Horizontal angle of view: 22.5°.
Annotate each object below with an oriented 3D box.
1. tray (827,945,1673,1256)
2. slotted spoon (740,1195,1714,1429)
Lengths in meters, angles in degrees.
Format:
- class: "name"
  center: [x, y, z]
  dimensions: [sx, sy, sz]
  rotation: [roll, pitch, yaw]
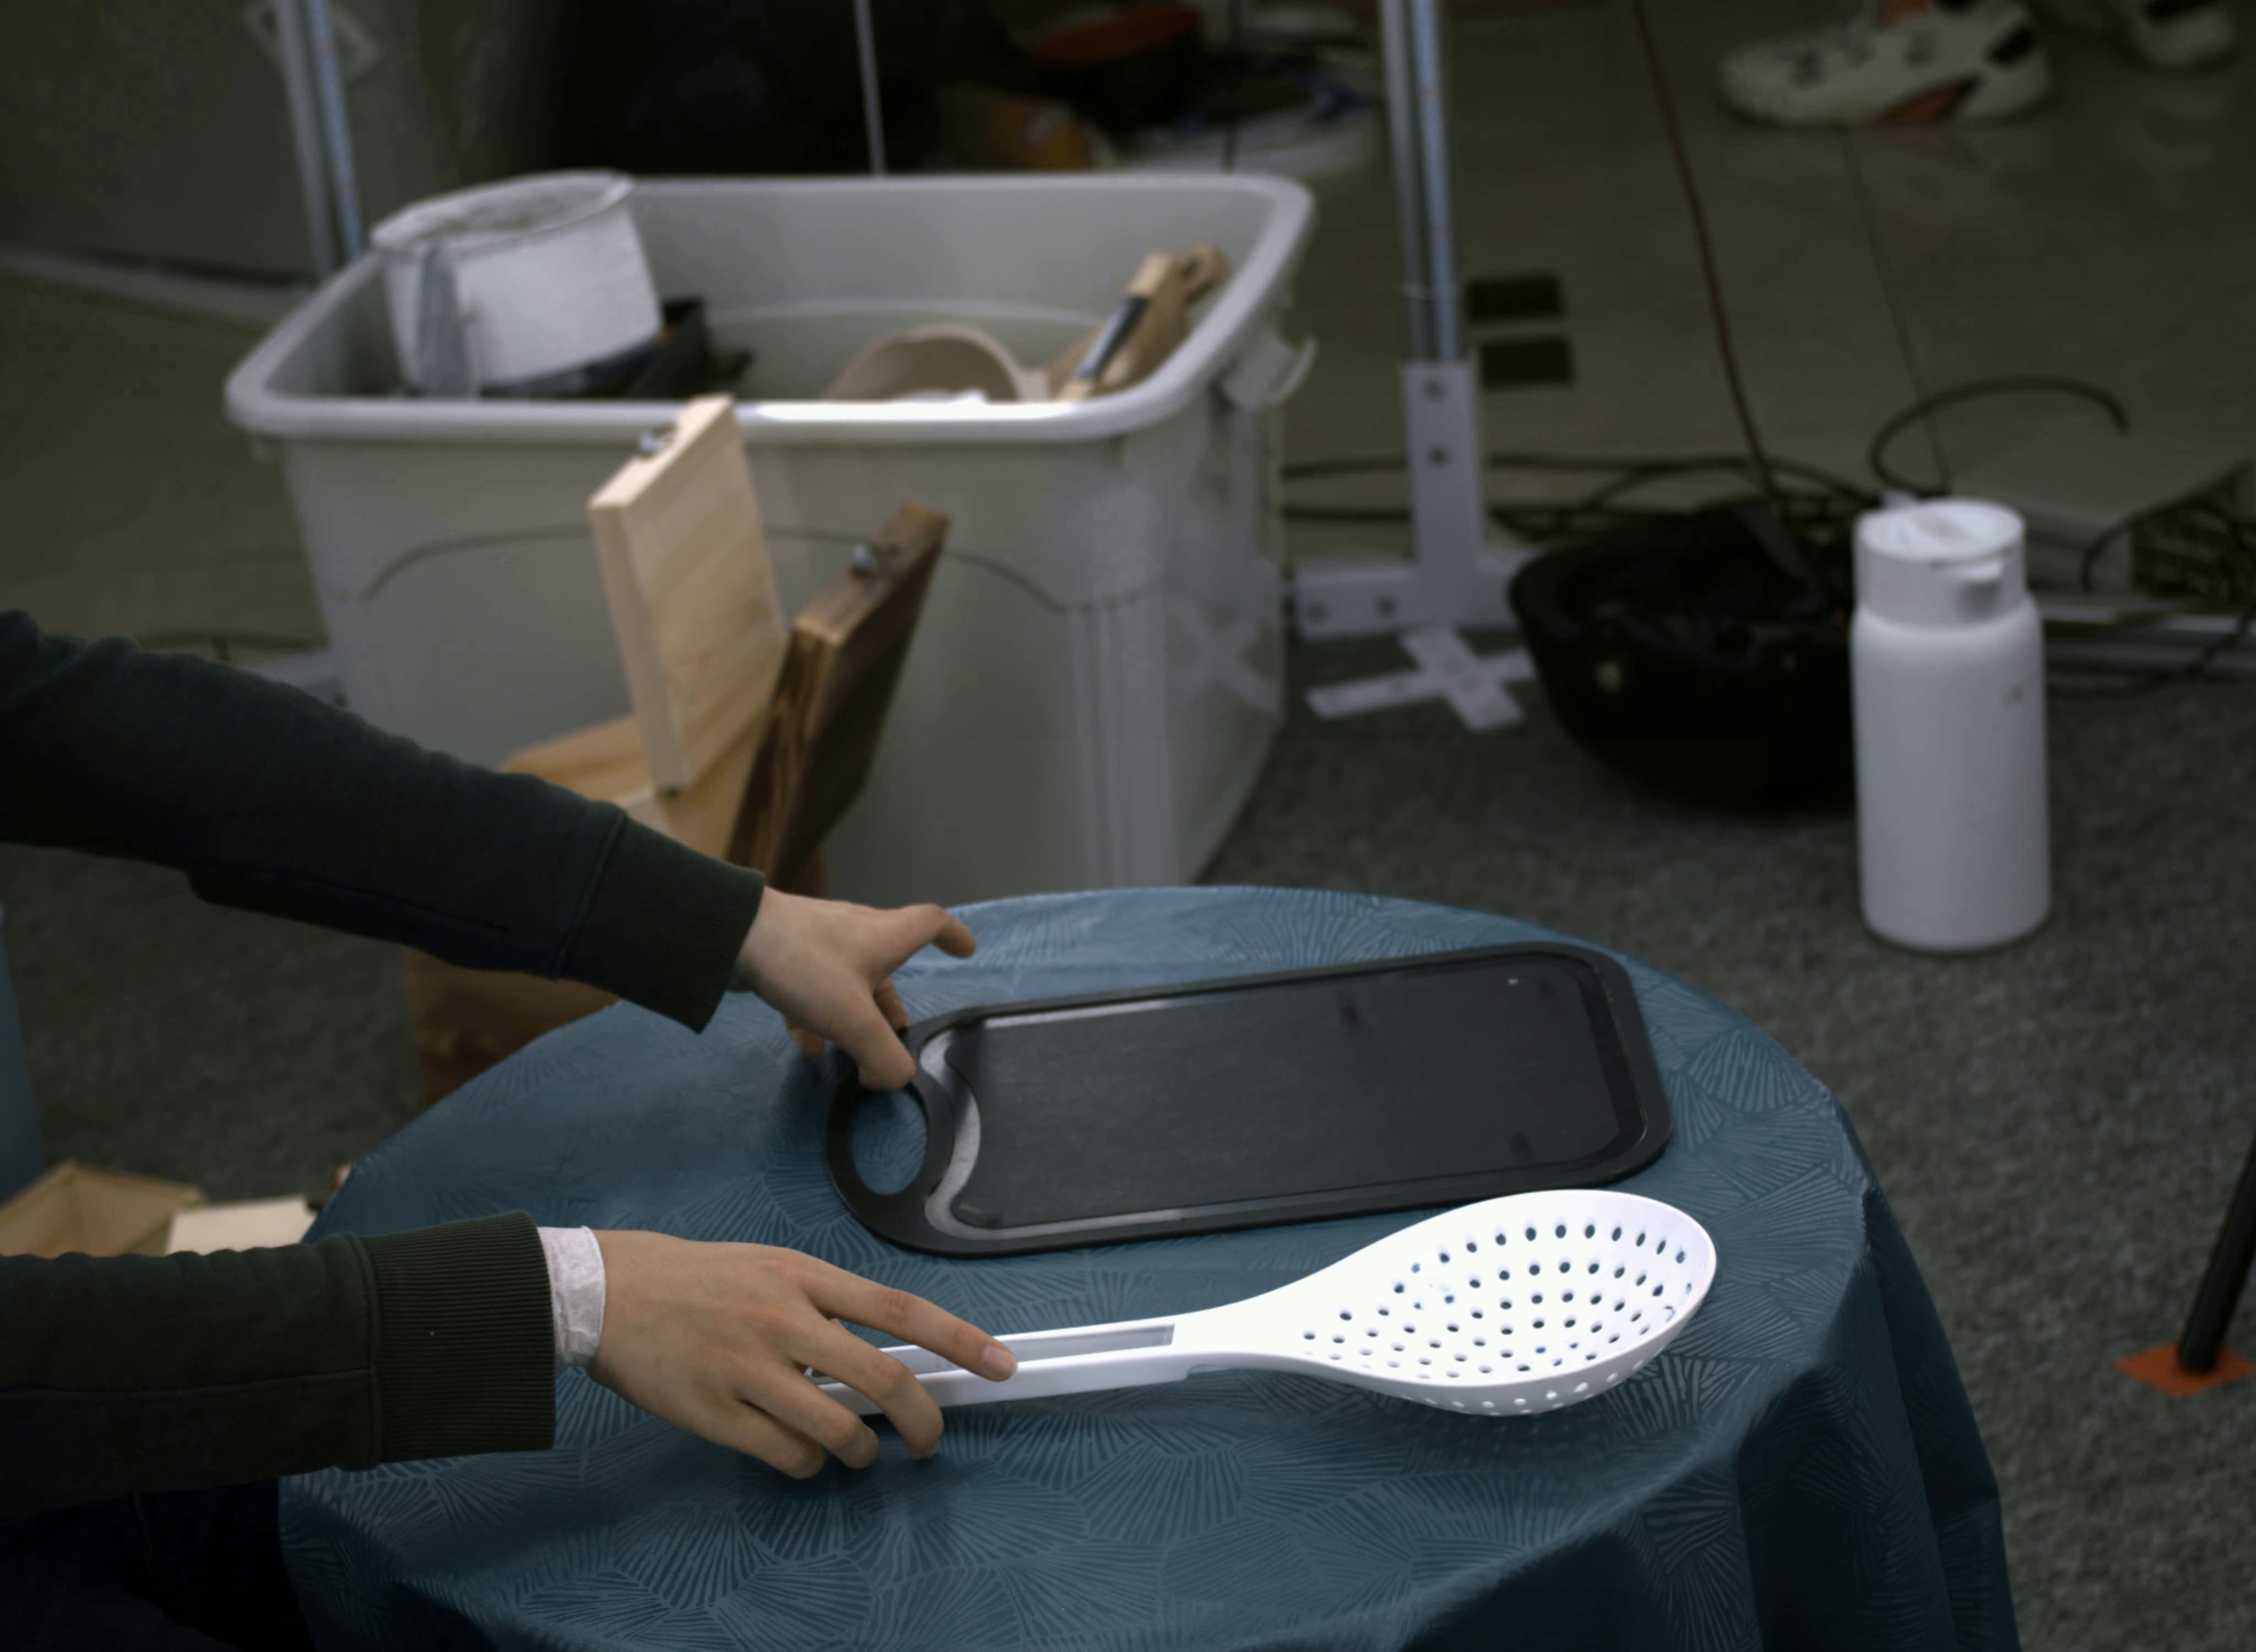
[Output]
- class: "tray"
  center: [0.044, 0.105, 2.208]
  dimensions: [0.325, 0.010, 0.208]
  rotation: [-7, 25, 0]
- class: "slotted spoon"
  center: [0.033, 0.182, 1.999]
  dimensions: [0.349, 0.046, 0.134]
  rotation: [-4, 23, 8]
